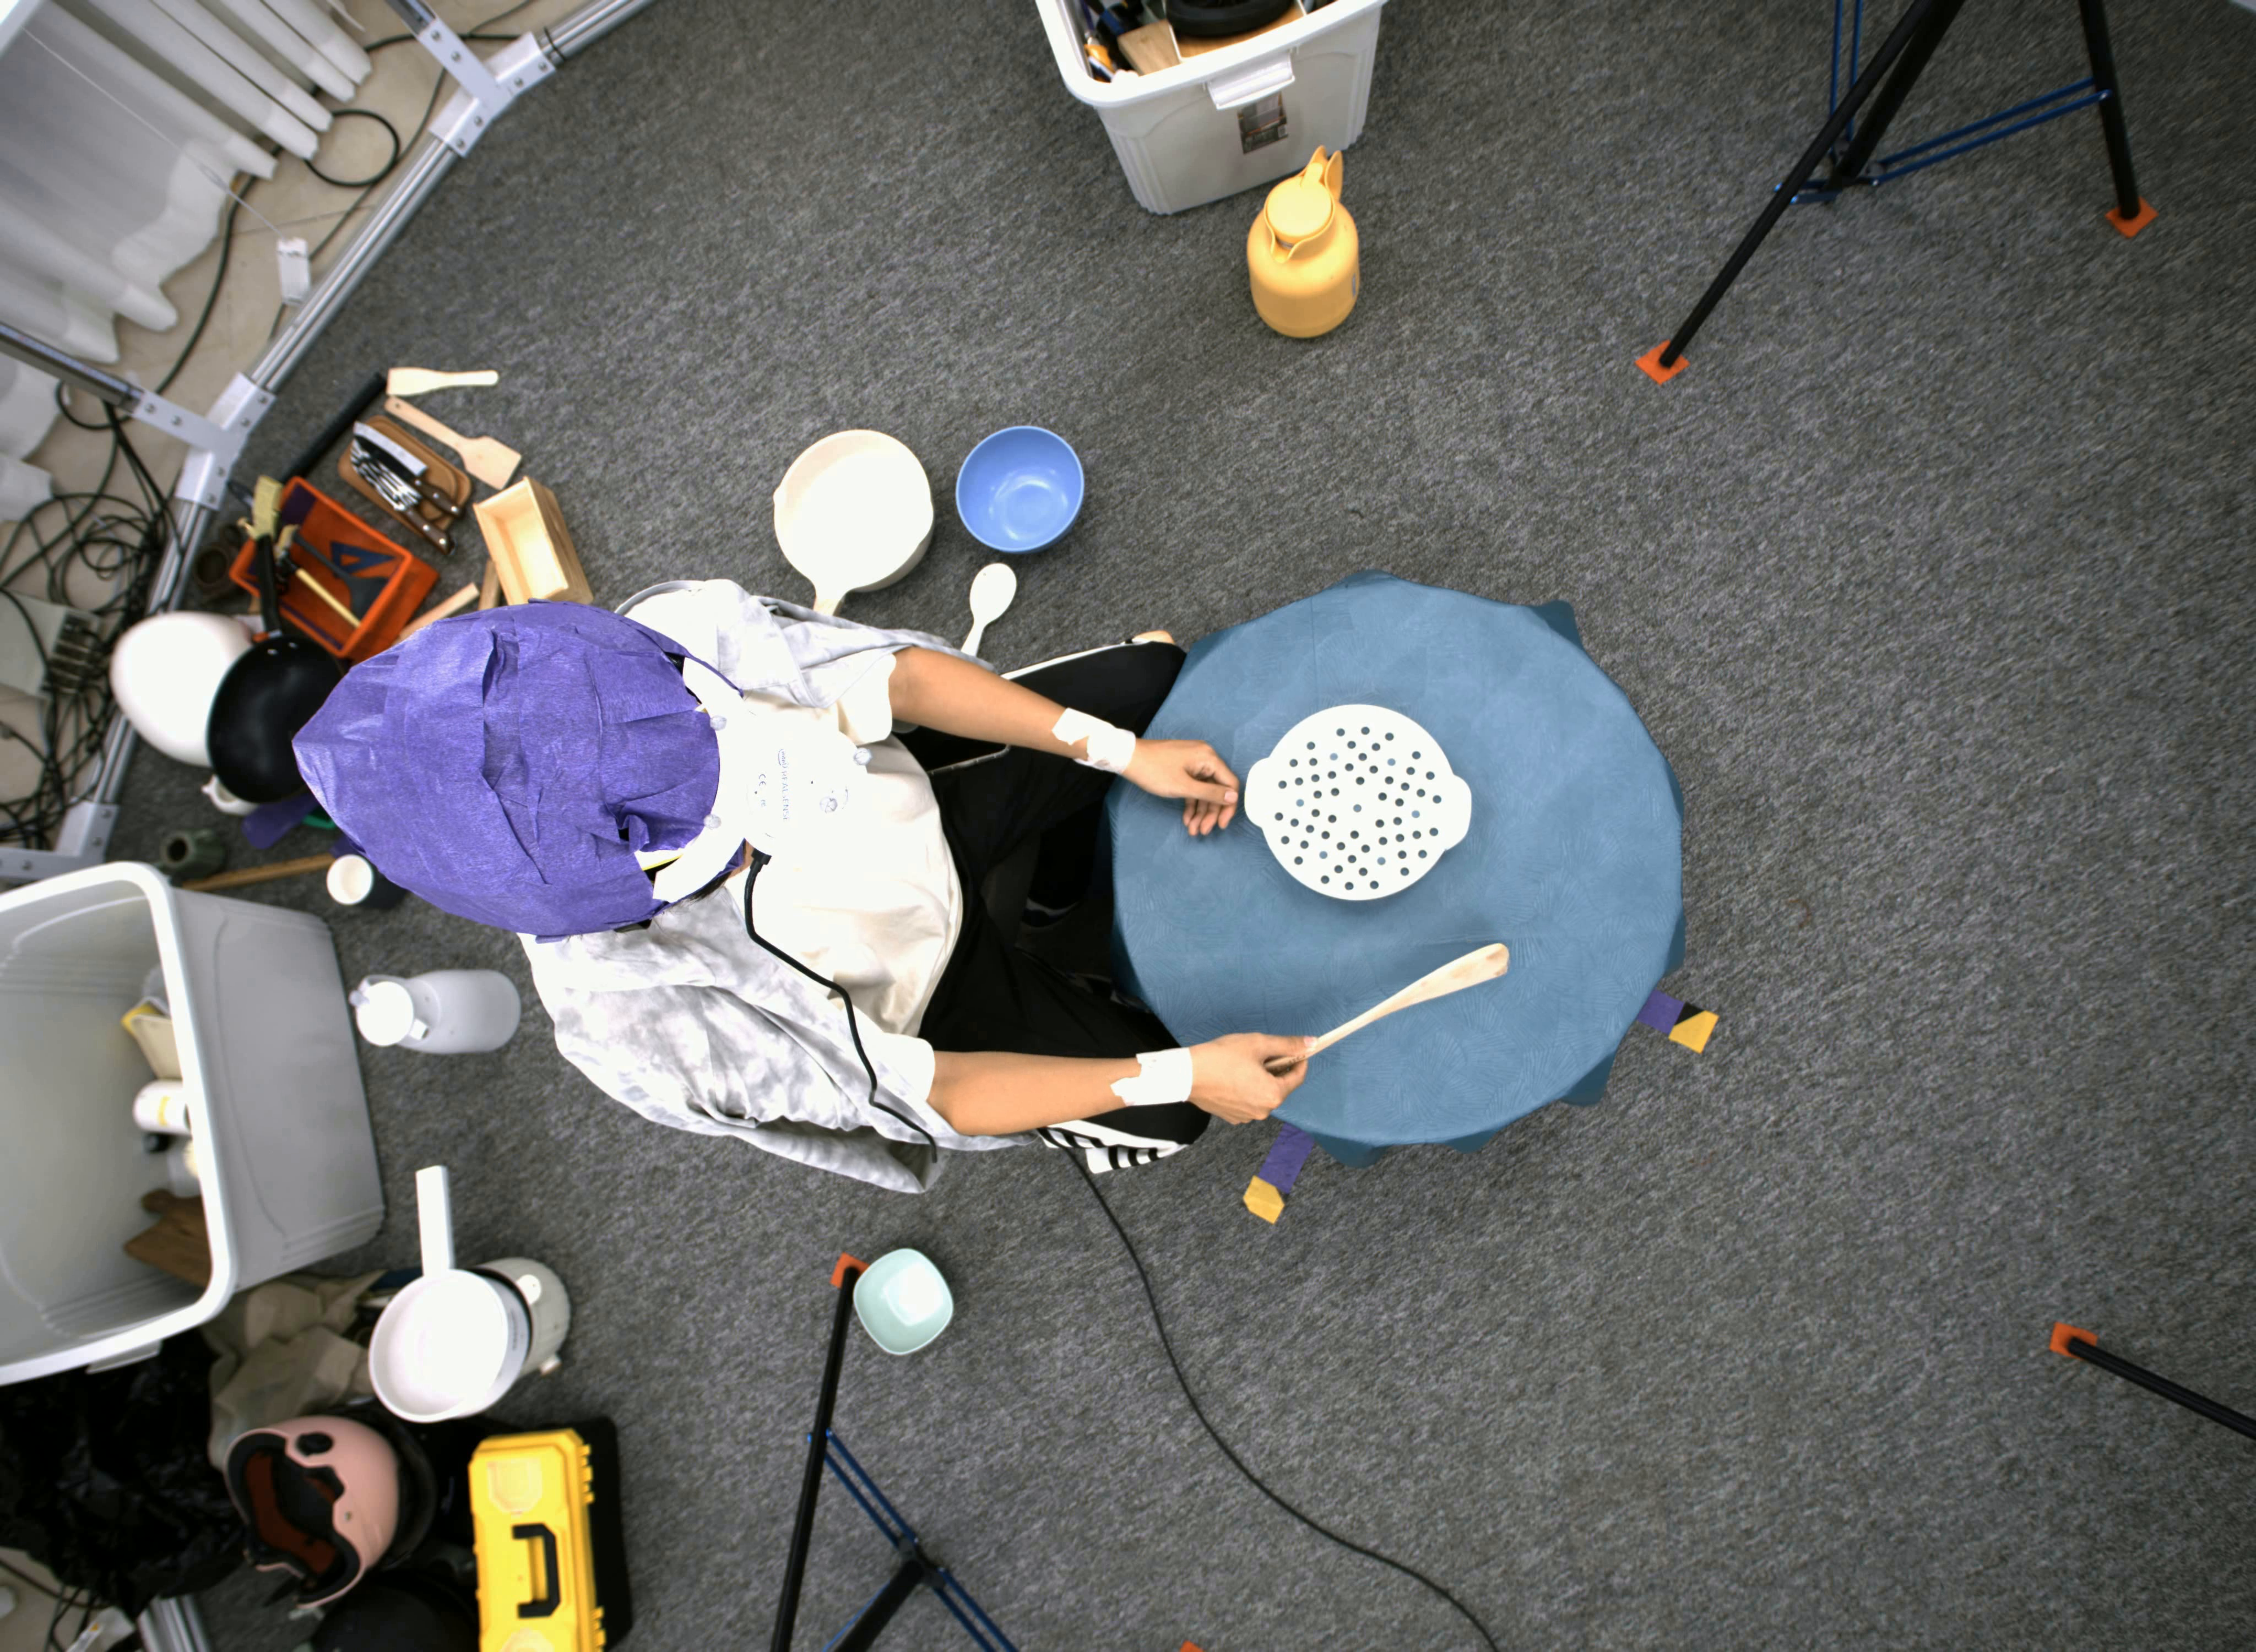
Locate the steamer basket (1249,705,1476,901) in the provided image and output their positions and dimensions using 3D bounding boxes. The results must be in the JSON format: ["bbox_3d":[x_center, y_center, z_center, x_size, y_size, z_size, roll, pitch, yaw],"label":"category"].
[{"bbox_3d":[0.243,-0.023,1.435,0.231,0.069,0.201,6,86,12],"label":"steamer basket"}]

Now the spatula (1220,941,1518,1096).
[{"bbox_3d":[0.239,0.192,1.374,0.328,0.081,0.016,-27,59,1],"label":"spatula"}]
